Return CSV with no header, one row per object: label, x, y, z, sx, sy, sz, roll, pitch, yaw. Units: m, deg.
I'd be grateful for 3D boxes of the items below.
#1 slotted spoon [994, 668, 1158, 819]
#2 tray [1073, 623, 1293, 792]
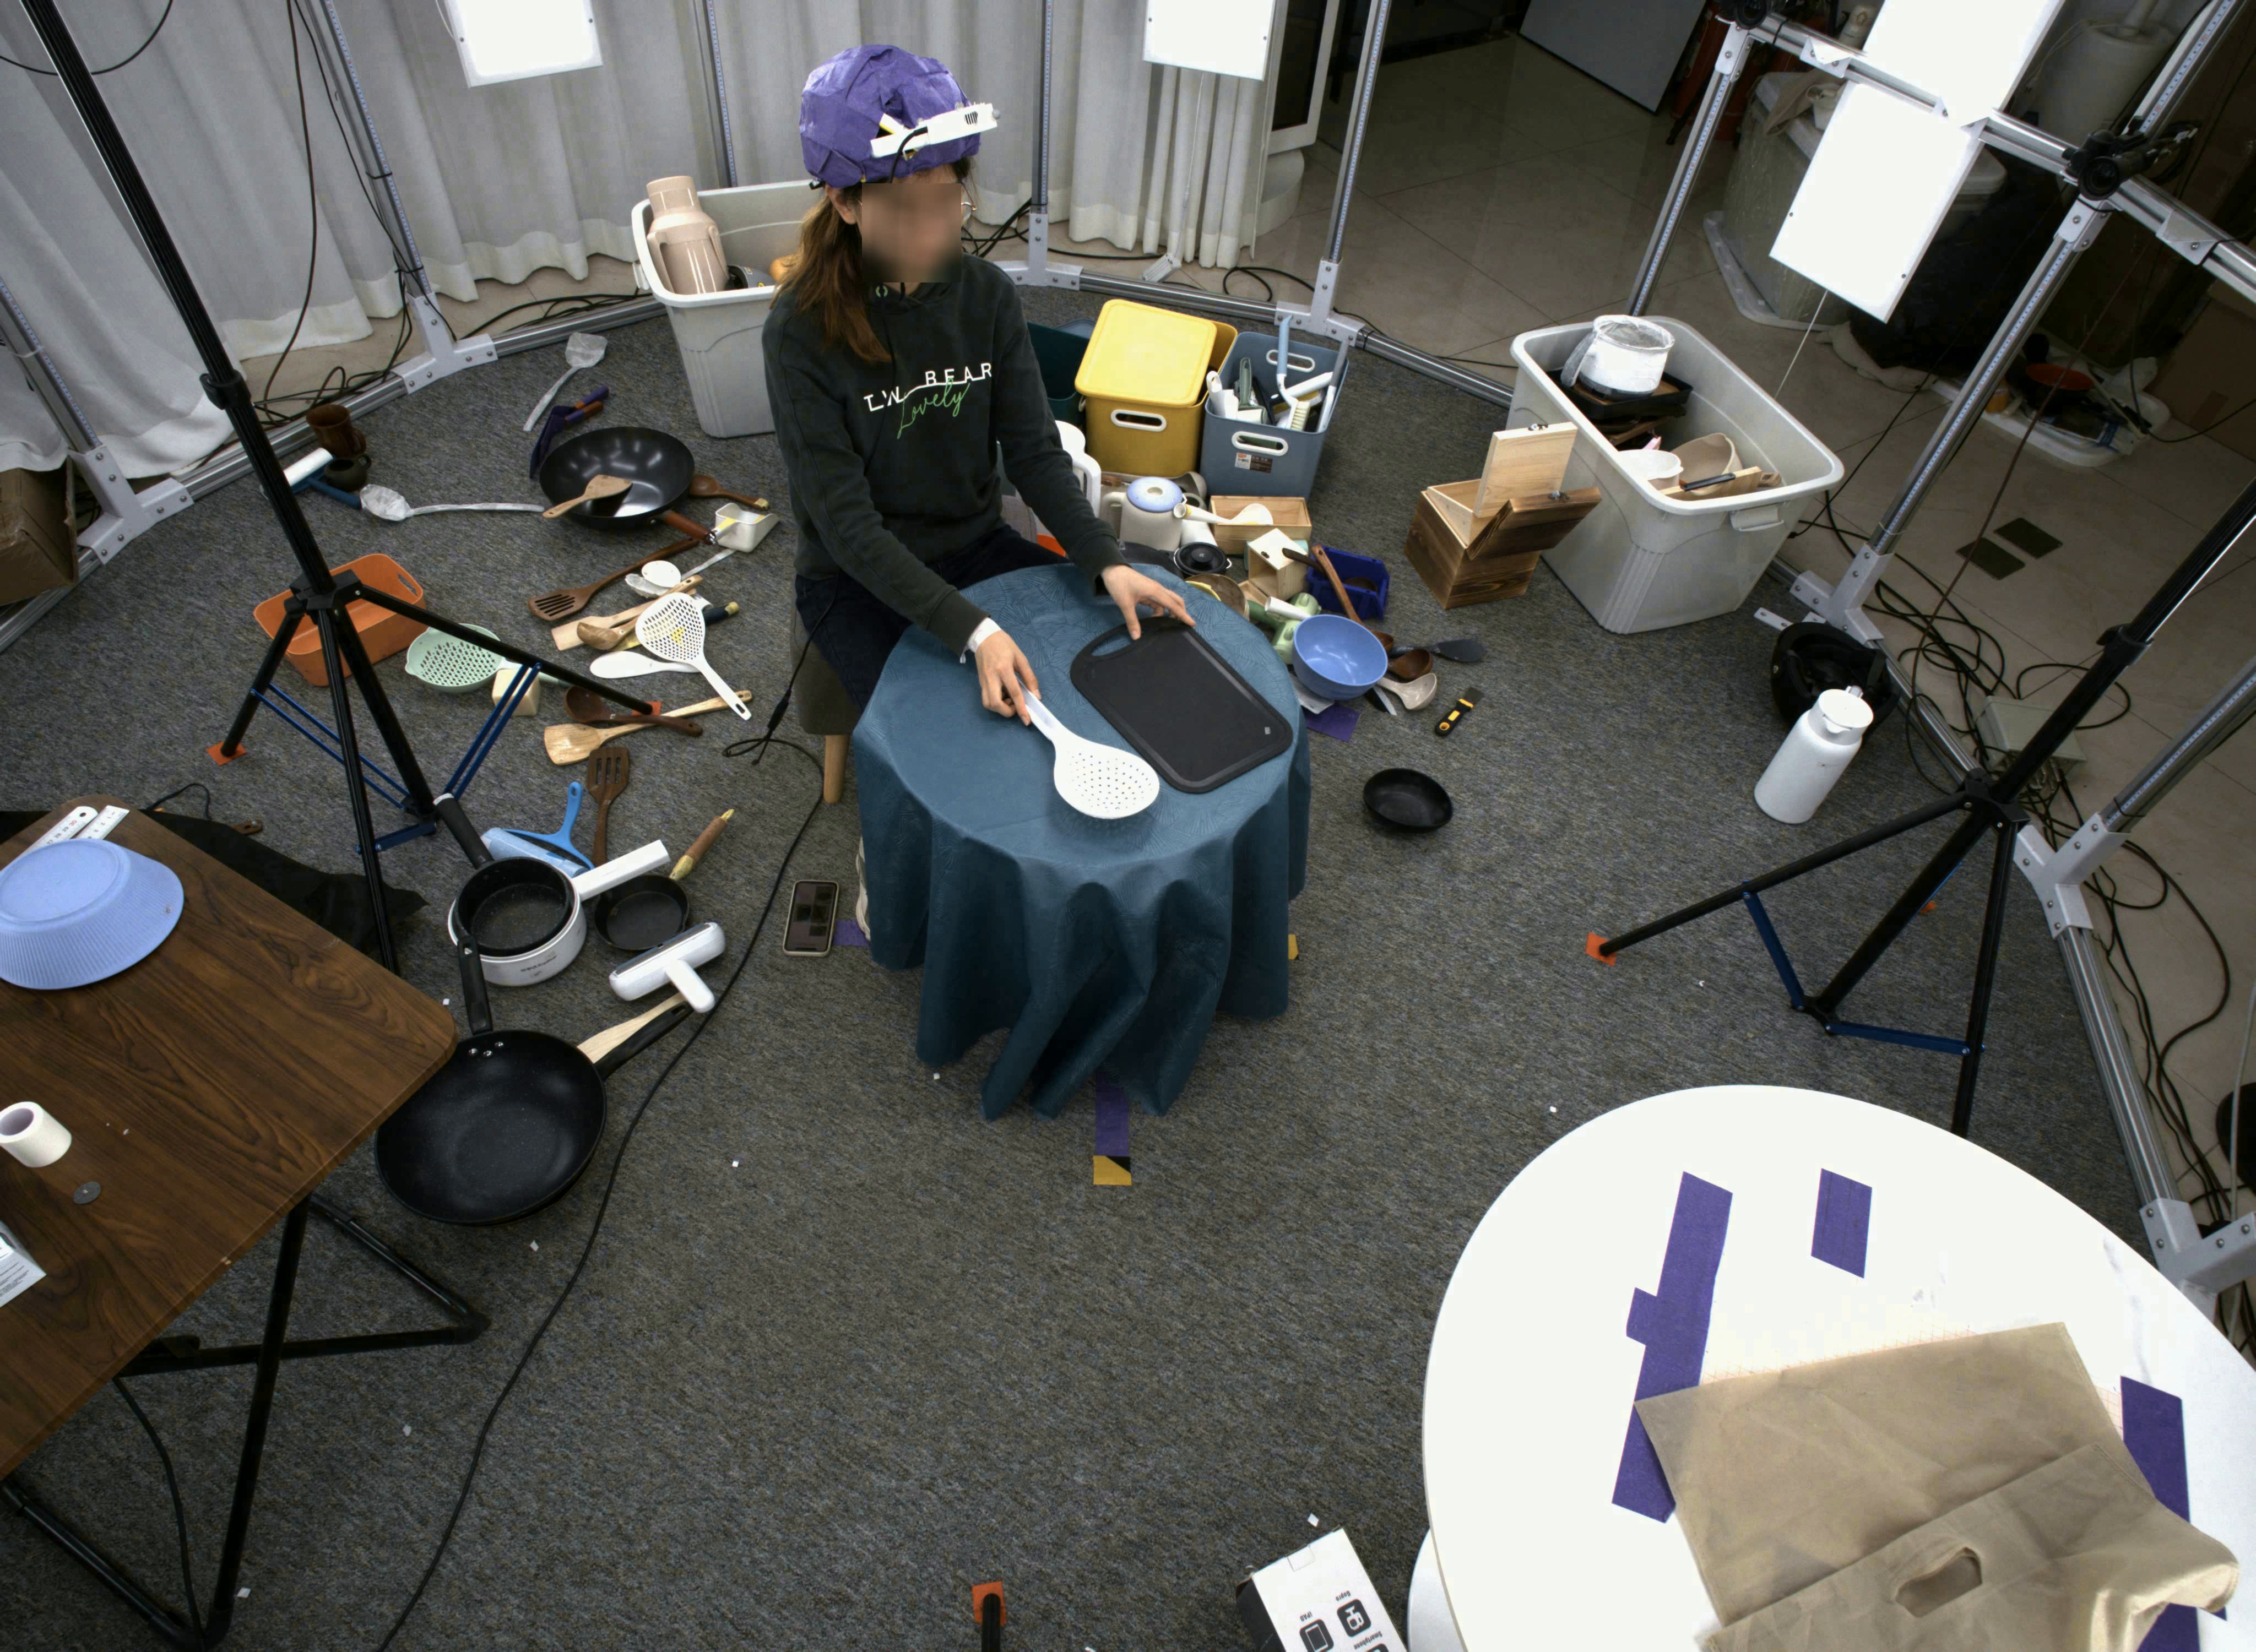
slotted spoon,-0.088,-0.118,1.750,0.136,0.044,0.357,-19,52,-28
tray,0.070,-0.182,1.839,0.212,0.009,0.331,-27,56,-24
